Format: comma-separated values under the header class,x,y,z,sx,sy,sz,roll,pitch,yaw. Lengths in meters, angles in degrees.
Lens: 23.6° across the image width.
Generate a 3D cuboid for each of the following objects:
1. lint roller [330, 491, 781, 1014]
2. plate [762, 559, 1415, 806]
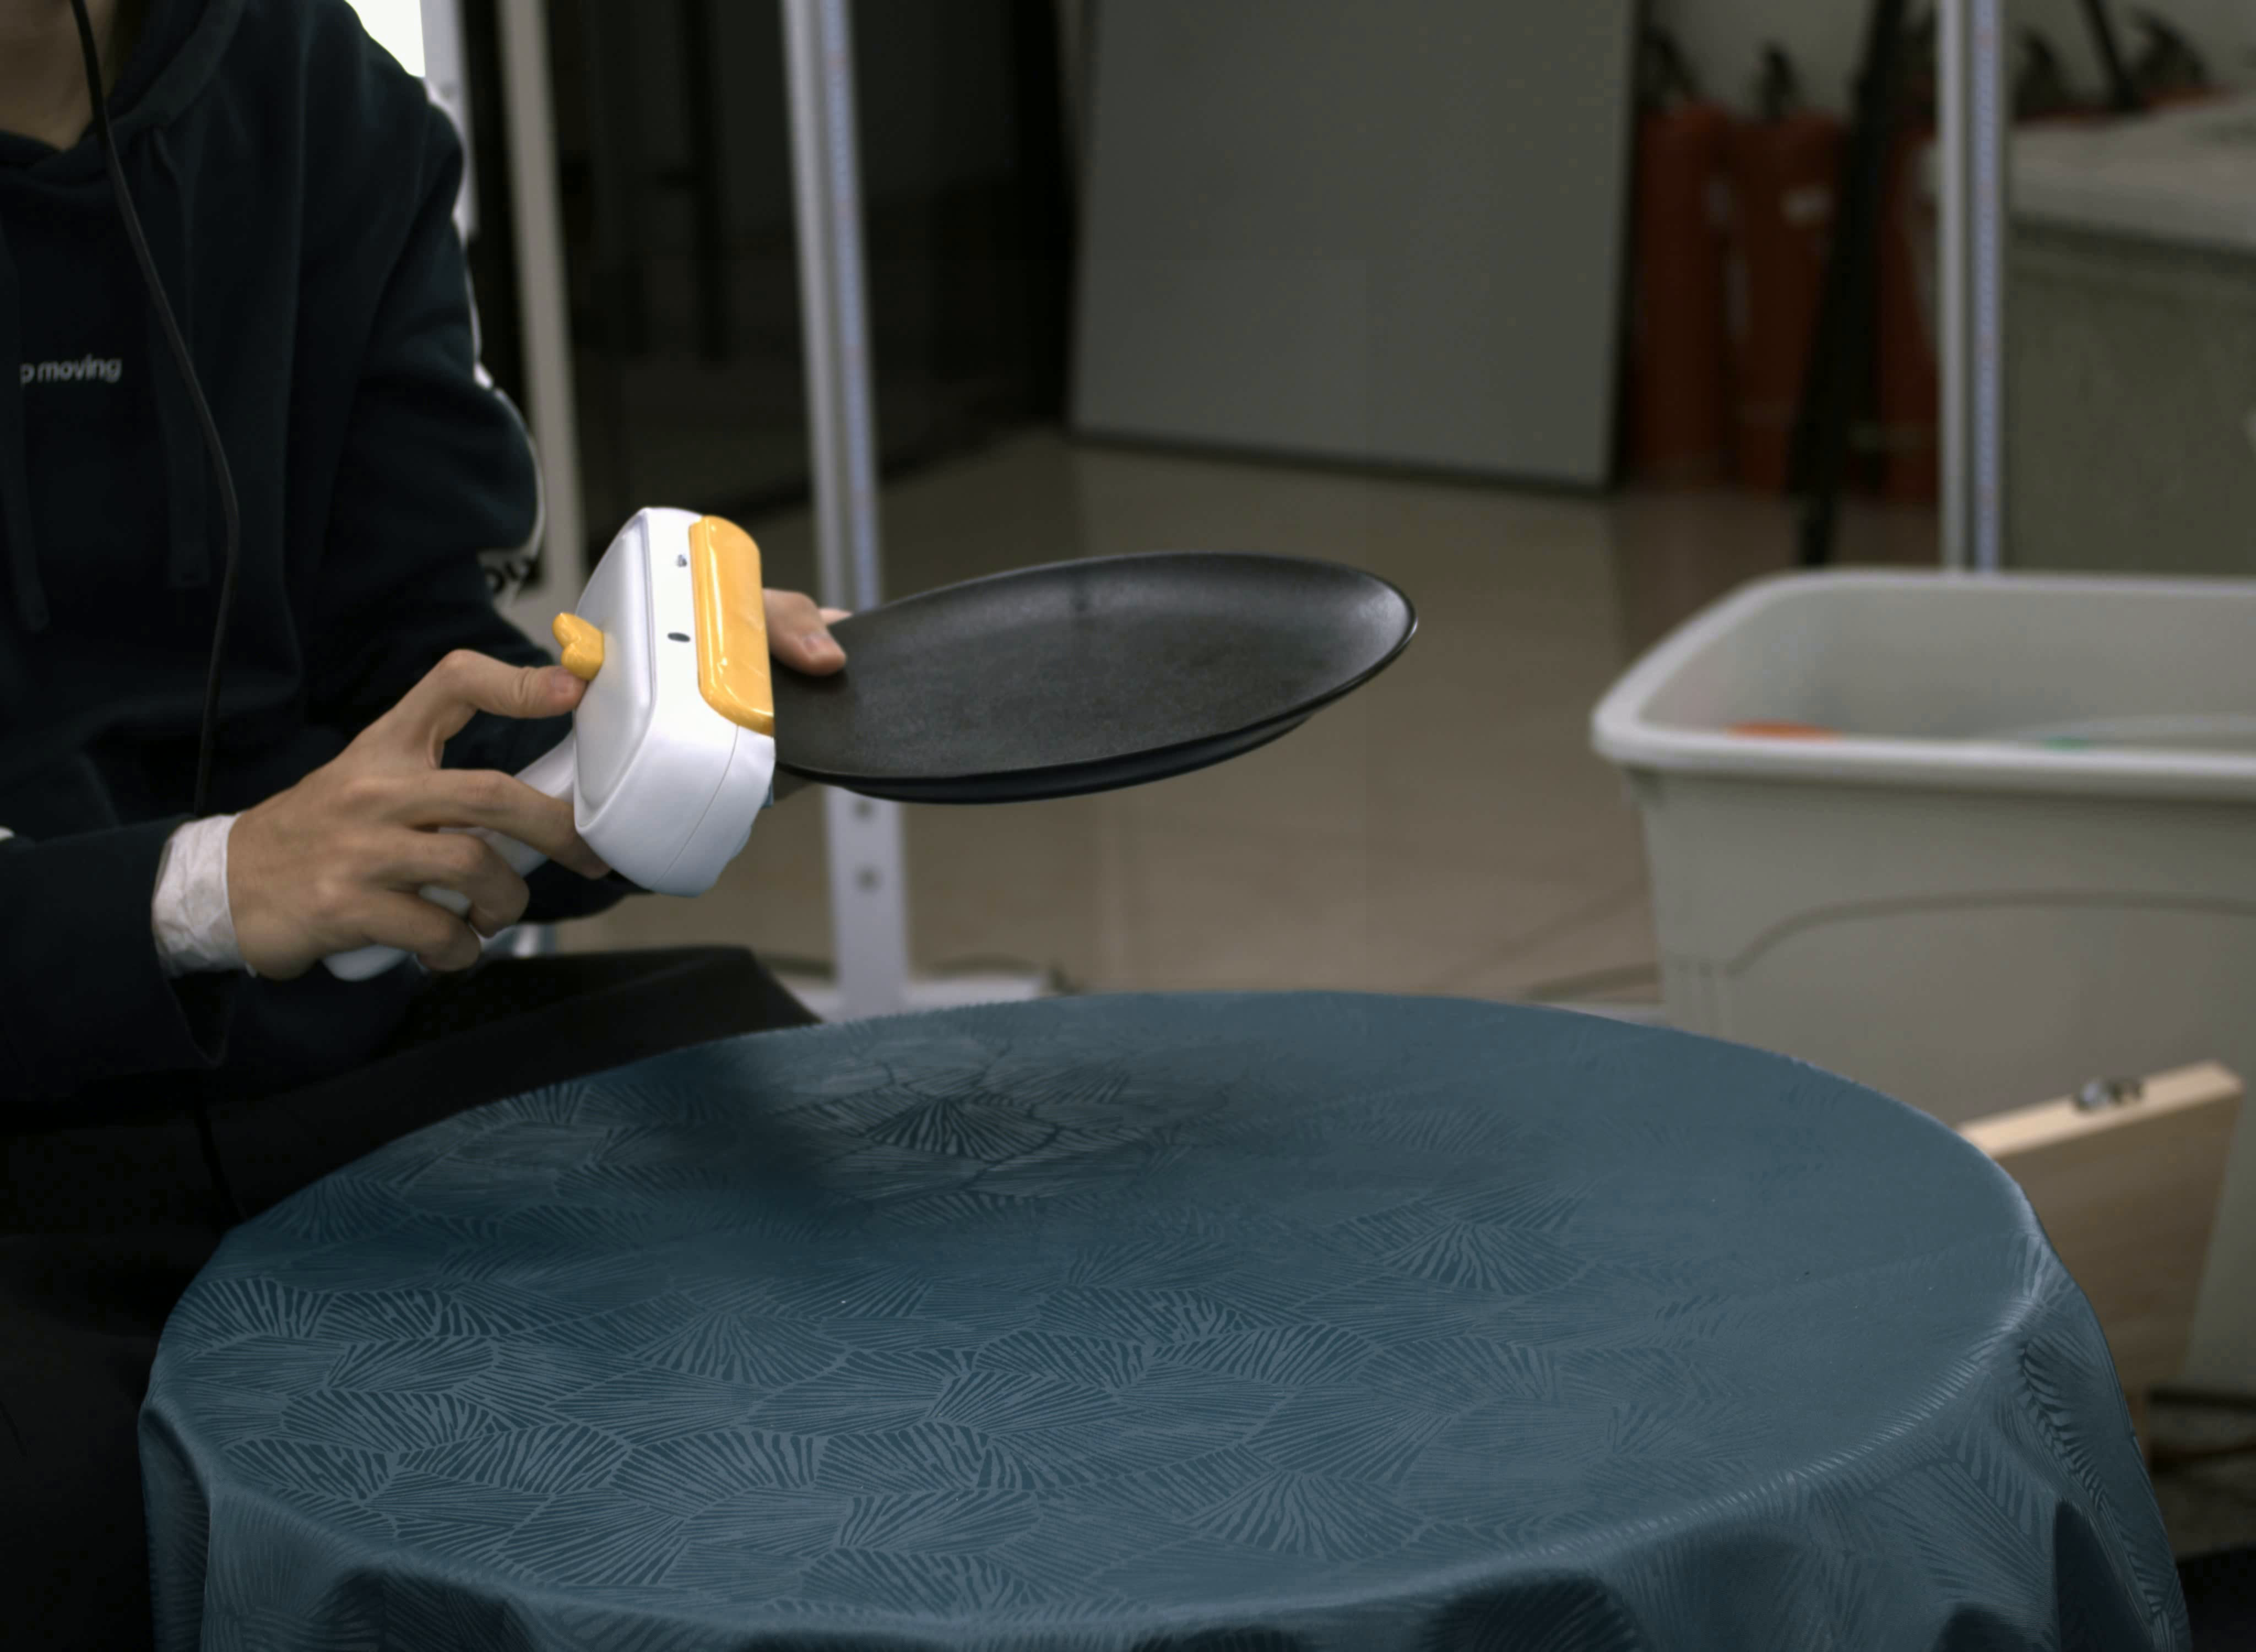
class,x,y,z,sx,sy,sz,roll,pitch,yaw
lint roller,-0.191,-0.007,1.814,0.073,0.194,0.194,31,17,-25
plate,-0.021,-0.047,1.834,0.241,0.023,0.245,-9,17,2
